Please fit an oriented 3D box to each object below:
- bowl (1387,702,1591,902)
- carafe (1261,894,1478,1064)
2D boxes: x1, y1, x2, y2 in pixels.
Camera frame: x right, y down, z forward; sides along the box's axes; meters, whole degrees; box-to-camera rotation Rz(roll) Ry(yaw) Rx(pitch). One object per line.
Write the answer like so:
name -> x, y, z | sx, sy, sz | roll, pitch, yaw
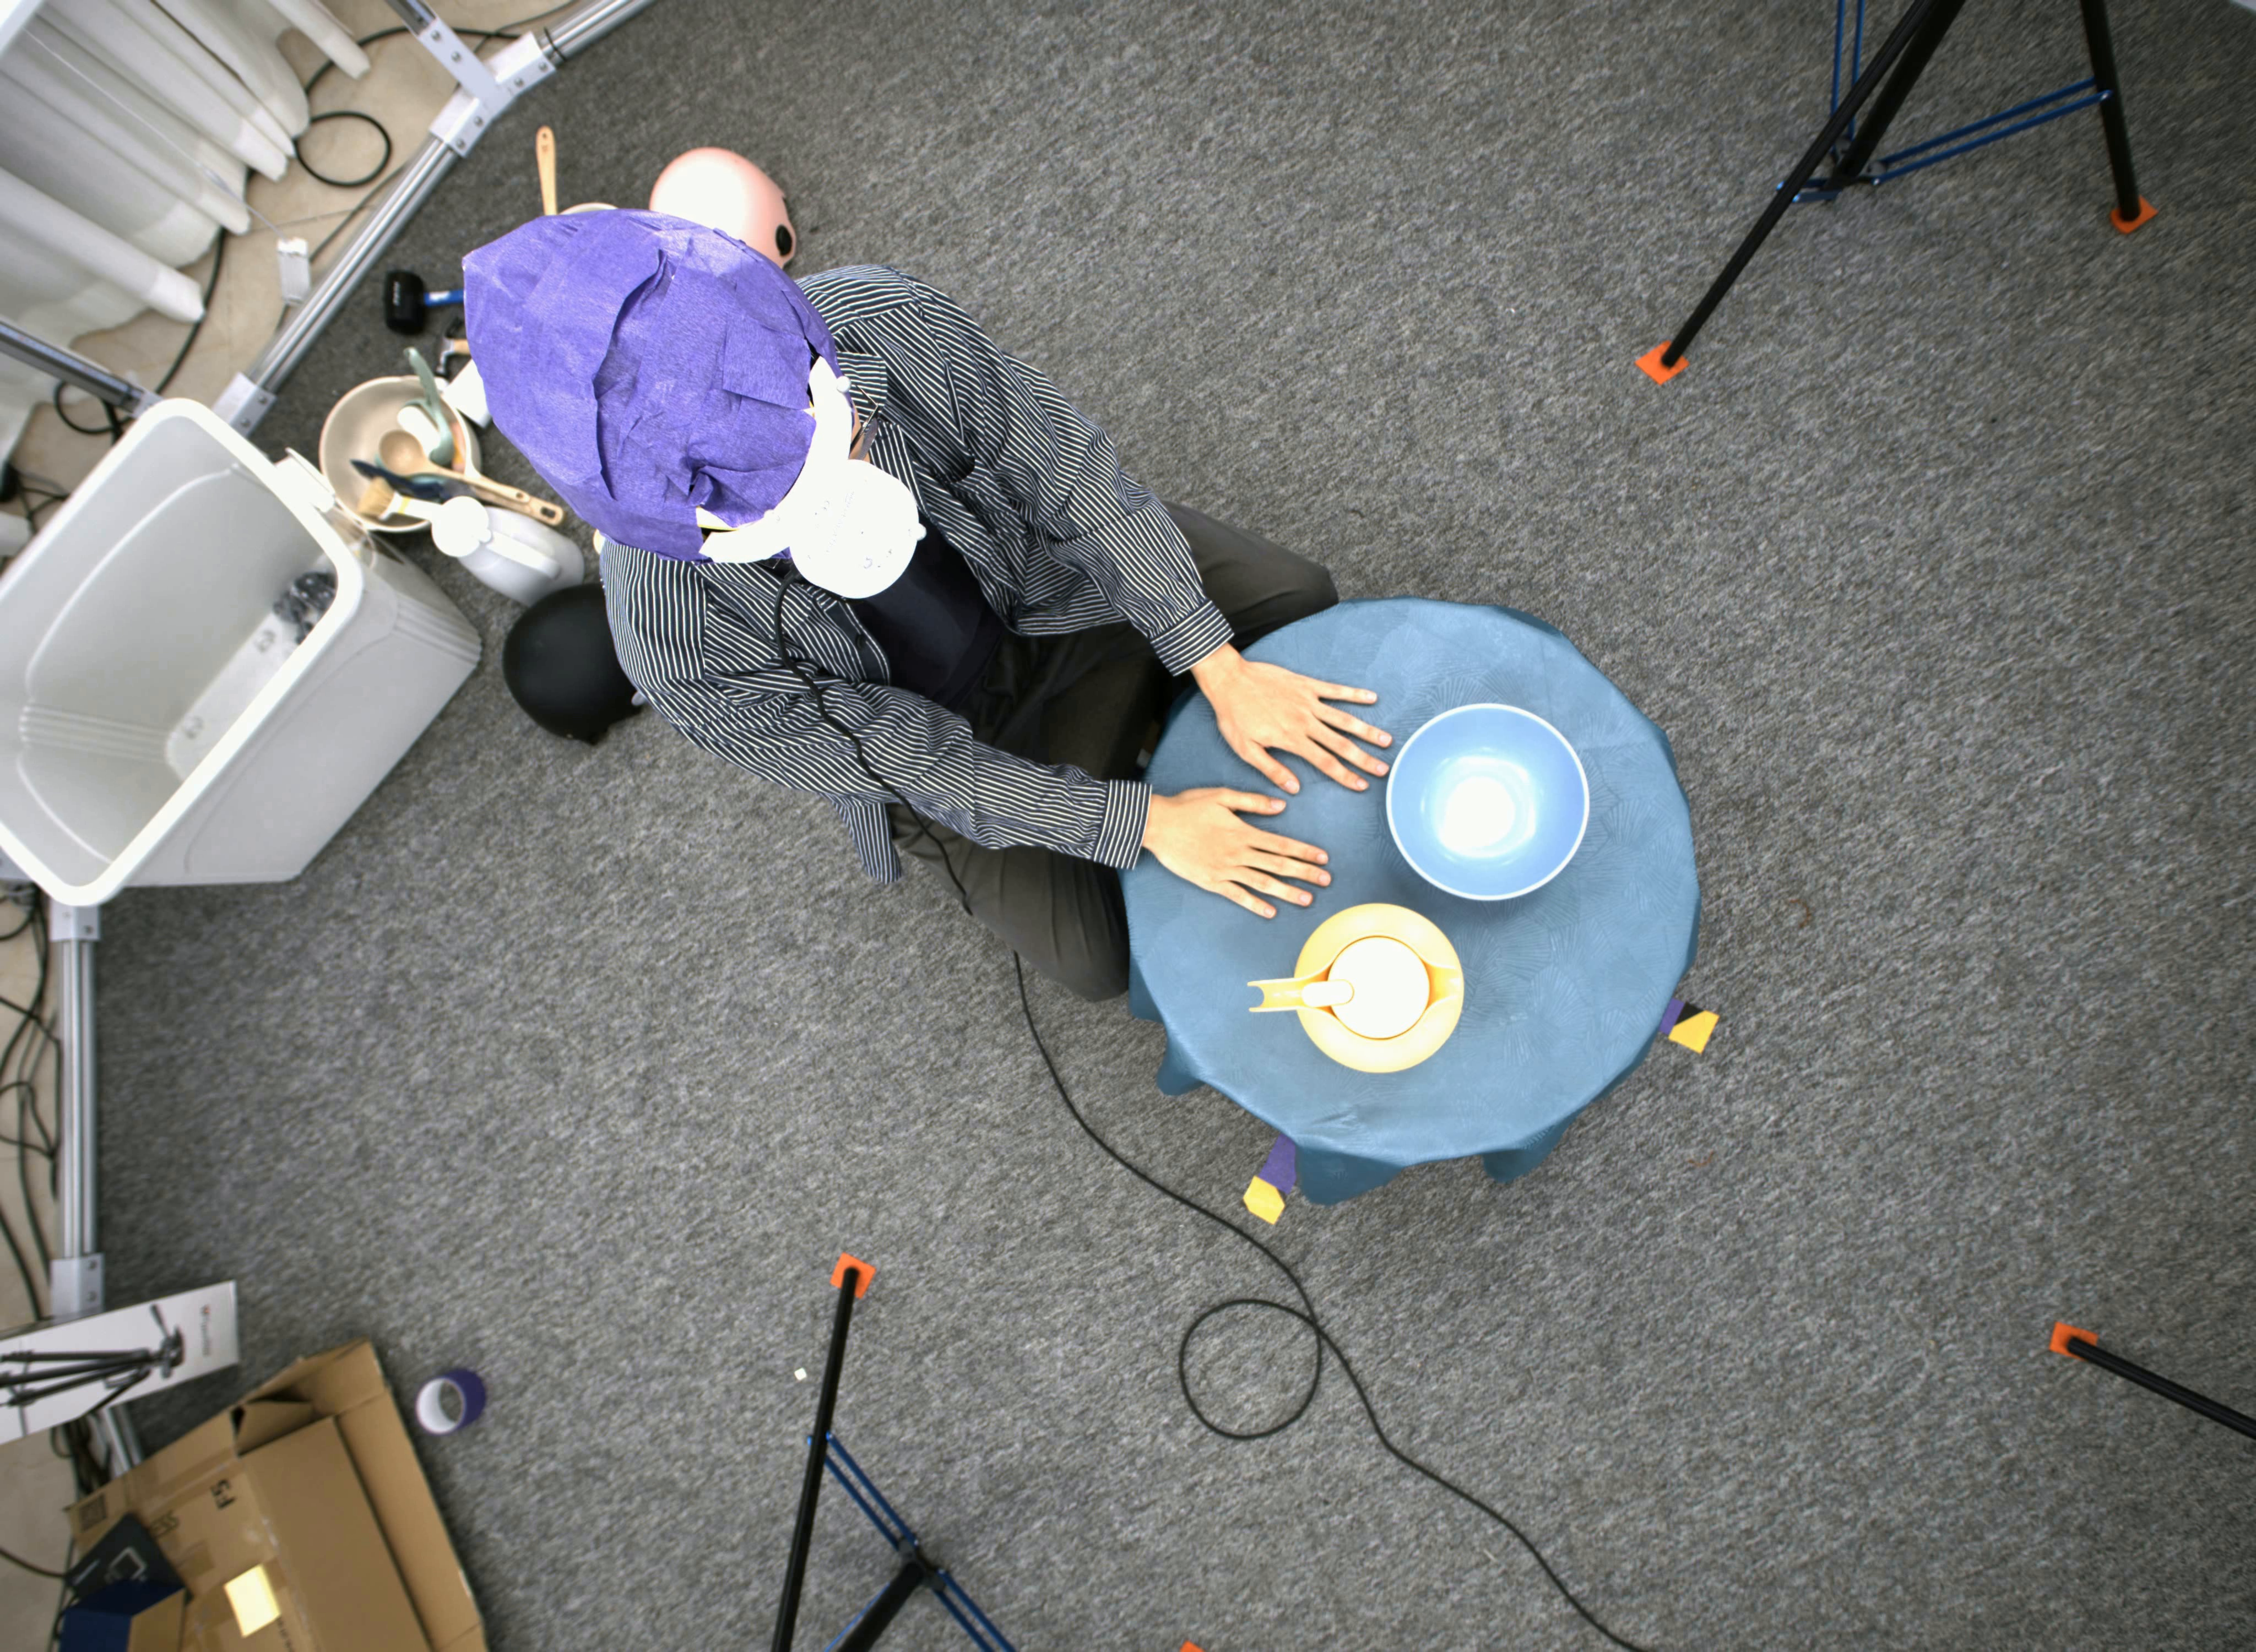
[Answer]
bowl -> 0.359, -0.022, 1.389 | 0.197, 0.095, 0.196 | -1, 87, 9
carafe -> 0.231, 0.145, 1.321 | 0.203, 0.260, 0.162 | -6, 85, 10
